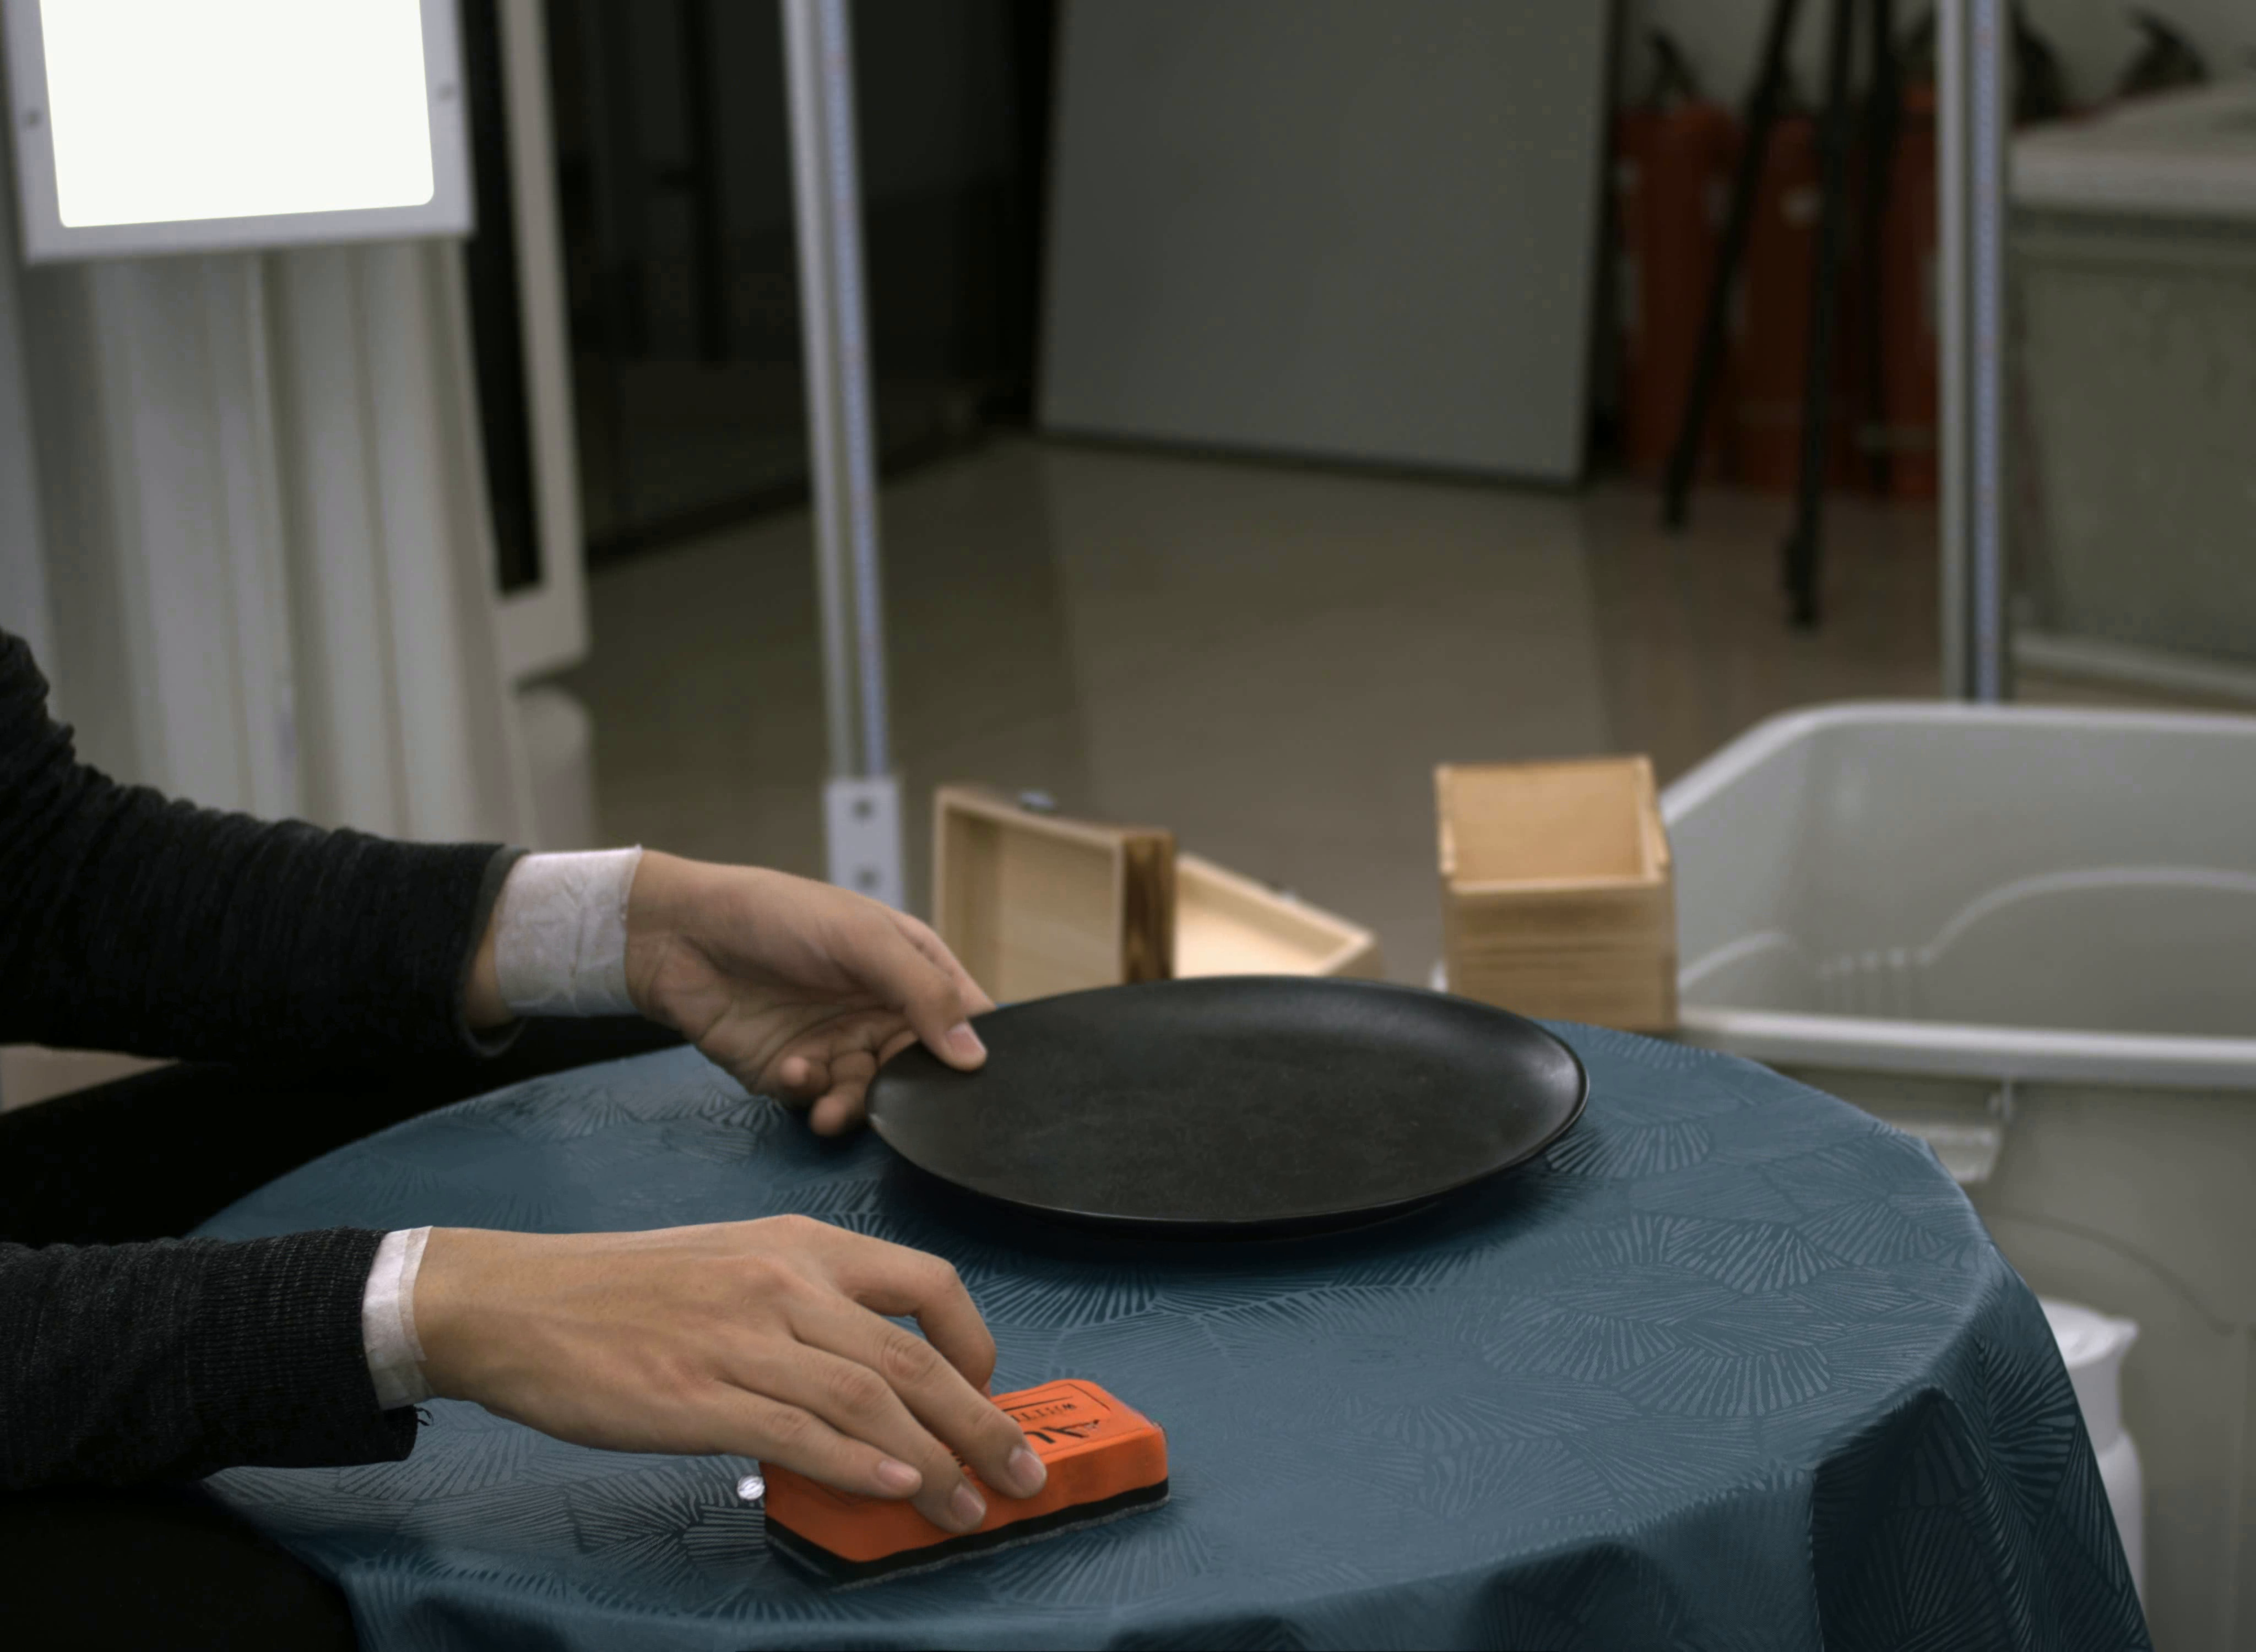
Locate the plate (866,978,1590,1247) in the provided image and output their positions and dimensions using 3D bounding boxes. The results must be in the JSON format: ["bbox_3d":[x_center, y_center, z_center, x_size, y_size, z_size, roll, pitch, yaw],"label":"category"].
[{"bbox_3d":[0.033,0.098,1.792,0.241,0.024,0.245,-3,16,0],"label":"plate"}]

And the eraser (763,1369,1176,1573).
[{"bbox_3d":[-0.043,0.178,1.492,0.106,0.023,0.059,-14,10,-27],"label":"eraser"}]
